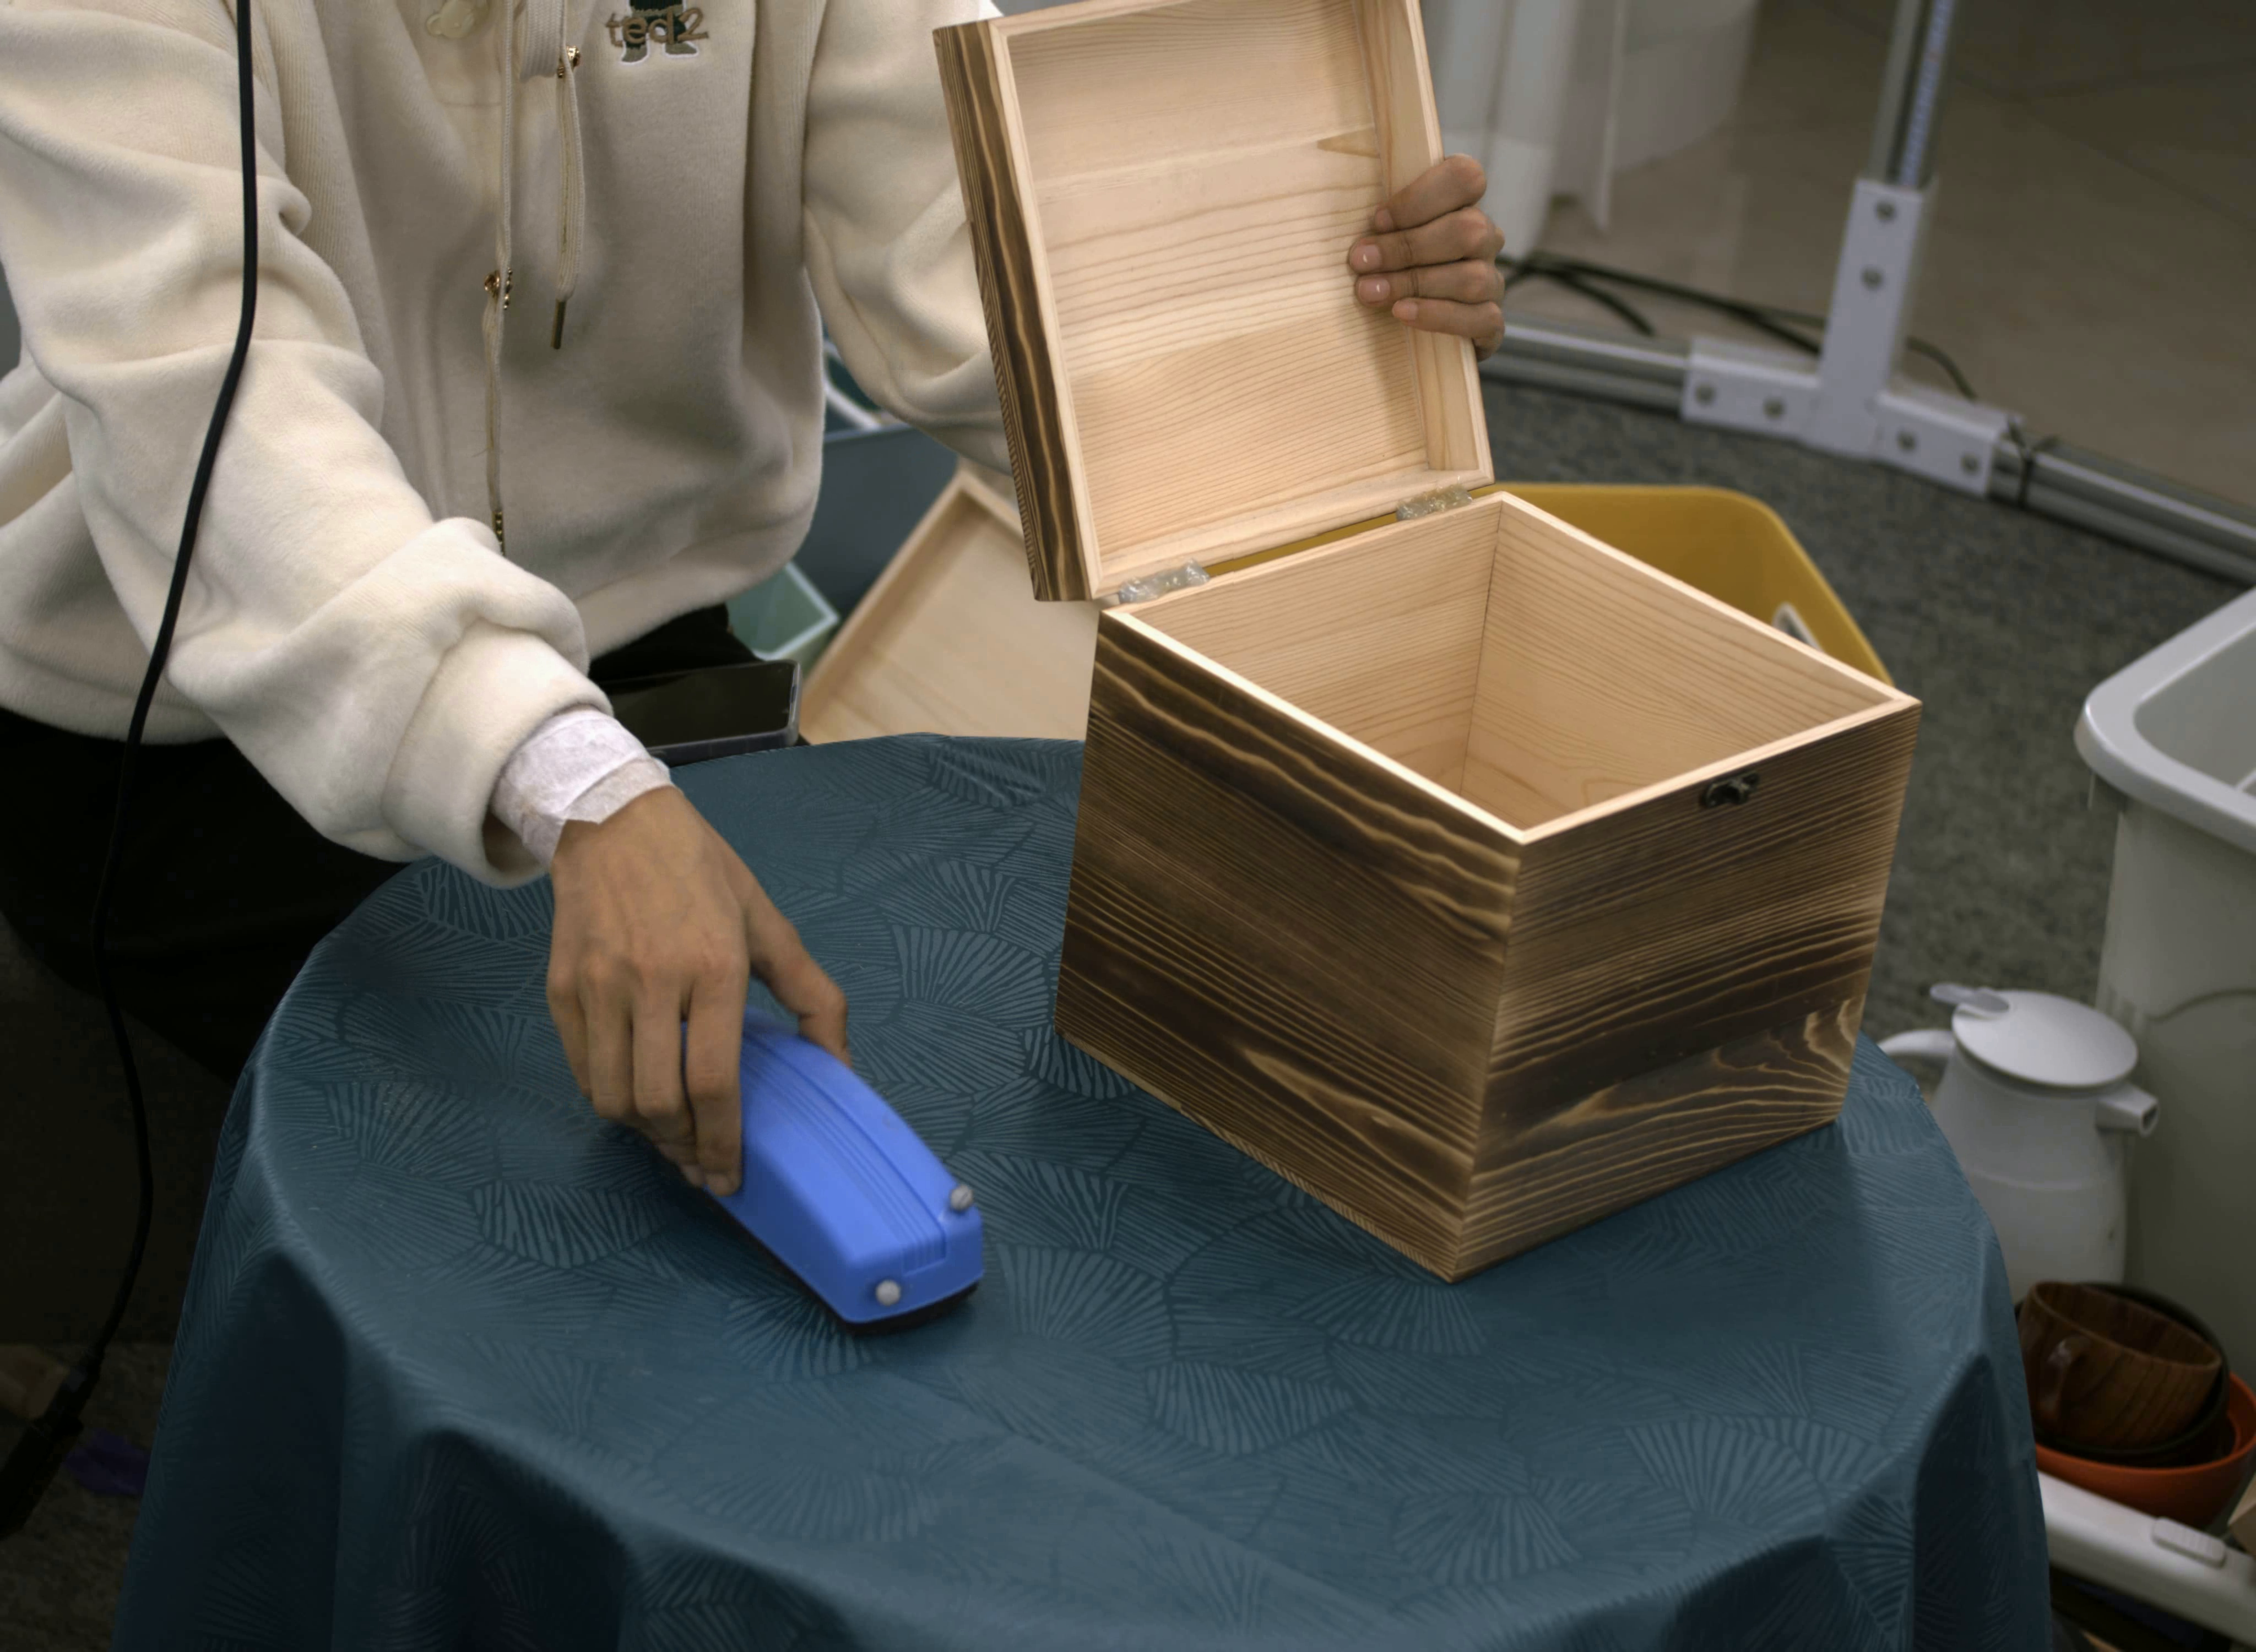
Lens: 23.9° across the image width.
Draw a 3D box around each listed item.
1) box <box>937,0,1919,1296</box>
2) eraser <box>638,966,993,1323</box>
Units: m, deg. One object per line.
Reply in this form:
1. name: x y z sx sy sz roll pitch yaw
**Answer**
1. box: 0.095 -0.088 1.847 0.207 0.374 0.325 -18 34 -39
2. eraser: -0.105 0.099 1.757 0.053 0.047 0.164 -21 40 -24
